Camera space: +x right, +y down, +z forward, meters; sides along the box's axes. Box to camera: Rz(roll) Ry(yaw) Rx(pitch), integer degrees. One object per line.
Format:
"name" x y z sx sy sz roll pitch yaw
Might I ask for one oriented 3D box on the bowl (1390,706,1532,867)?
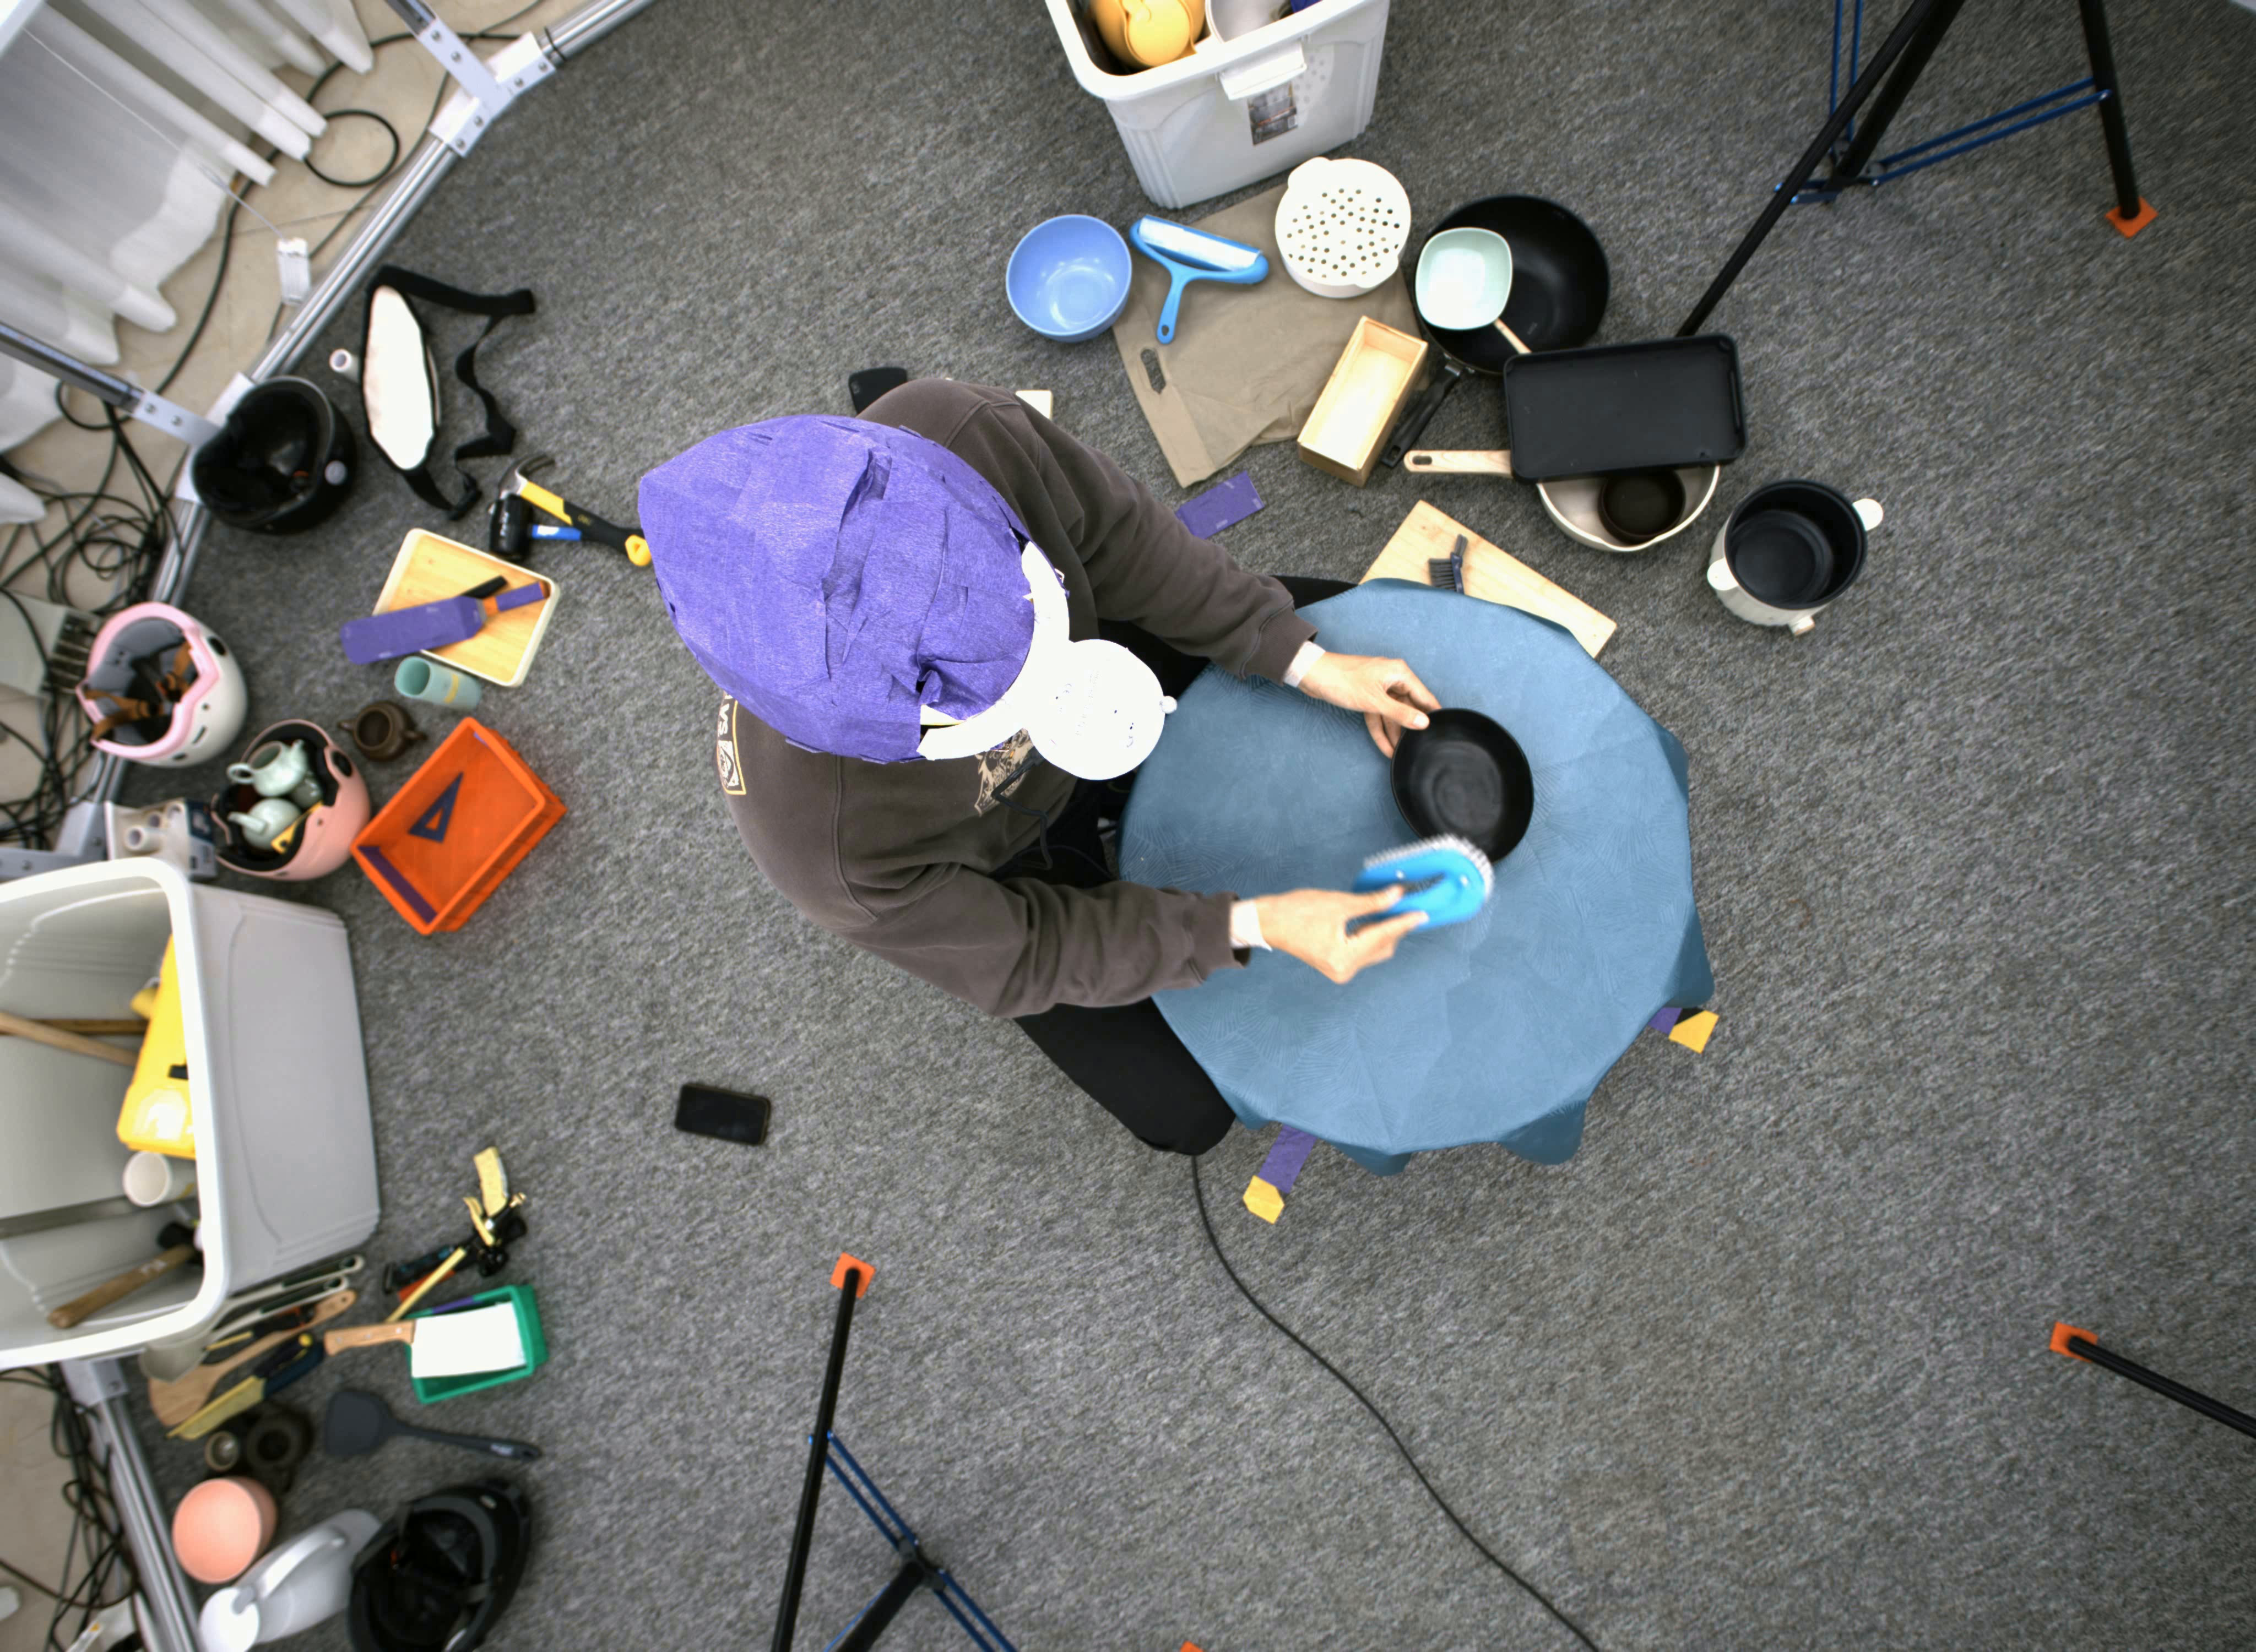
"bowl" 0.343 -0.041 1.417 0.138 0.066 0.169 -26 84 9

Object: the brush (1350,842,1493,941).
"brush" 0.276 0.069 1.314 0.144 0.062 0.085 -14 110 39
